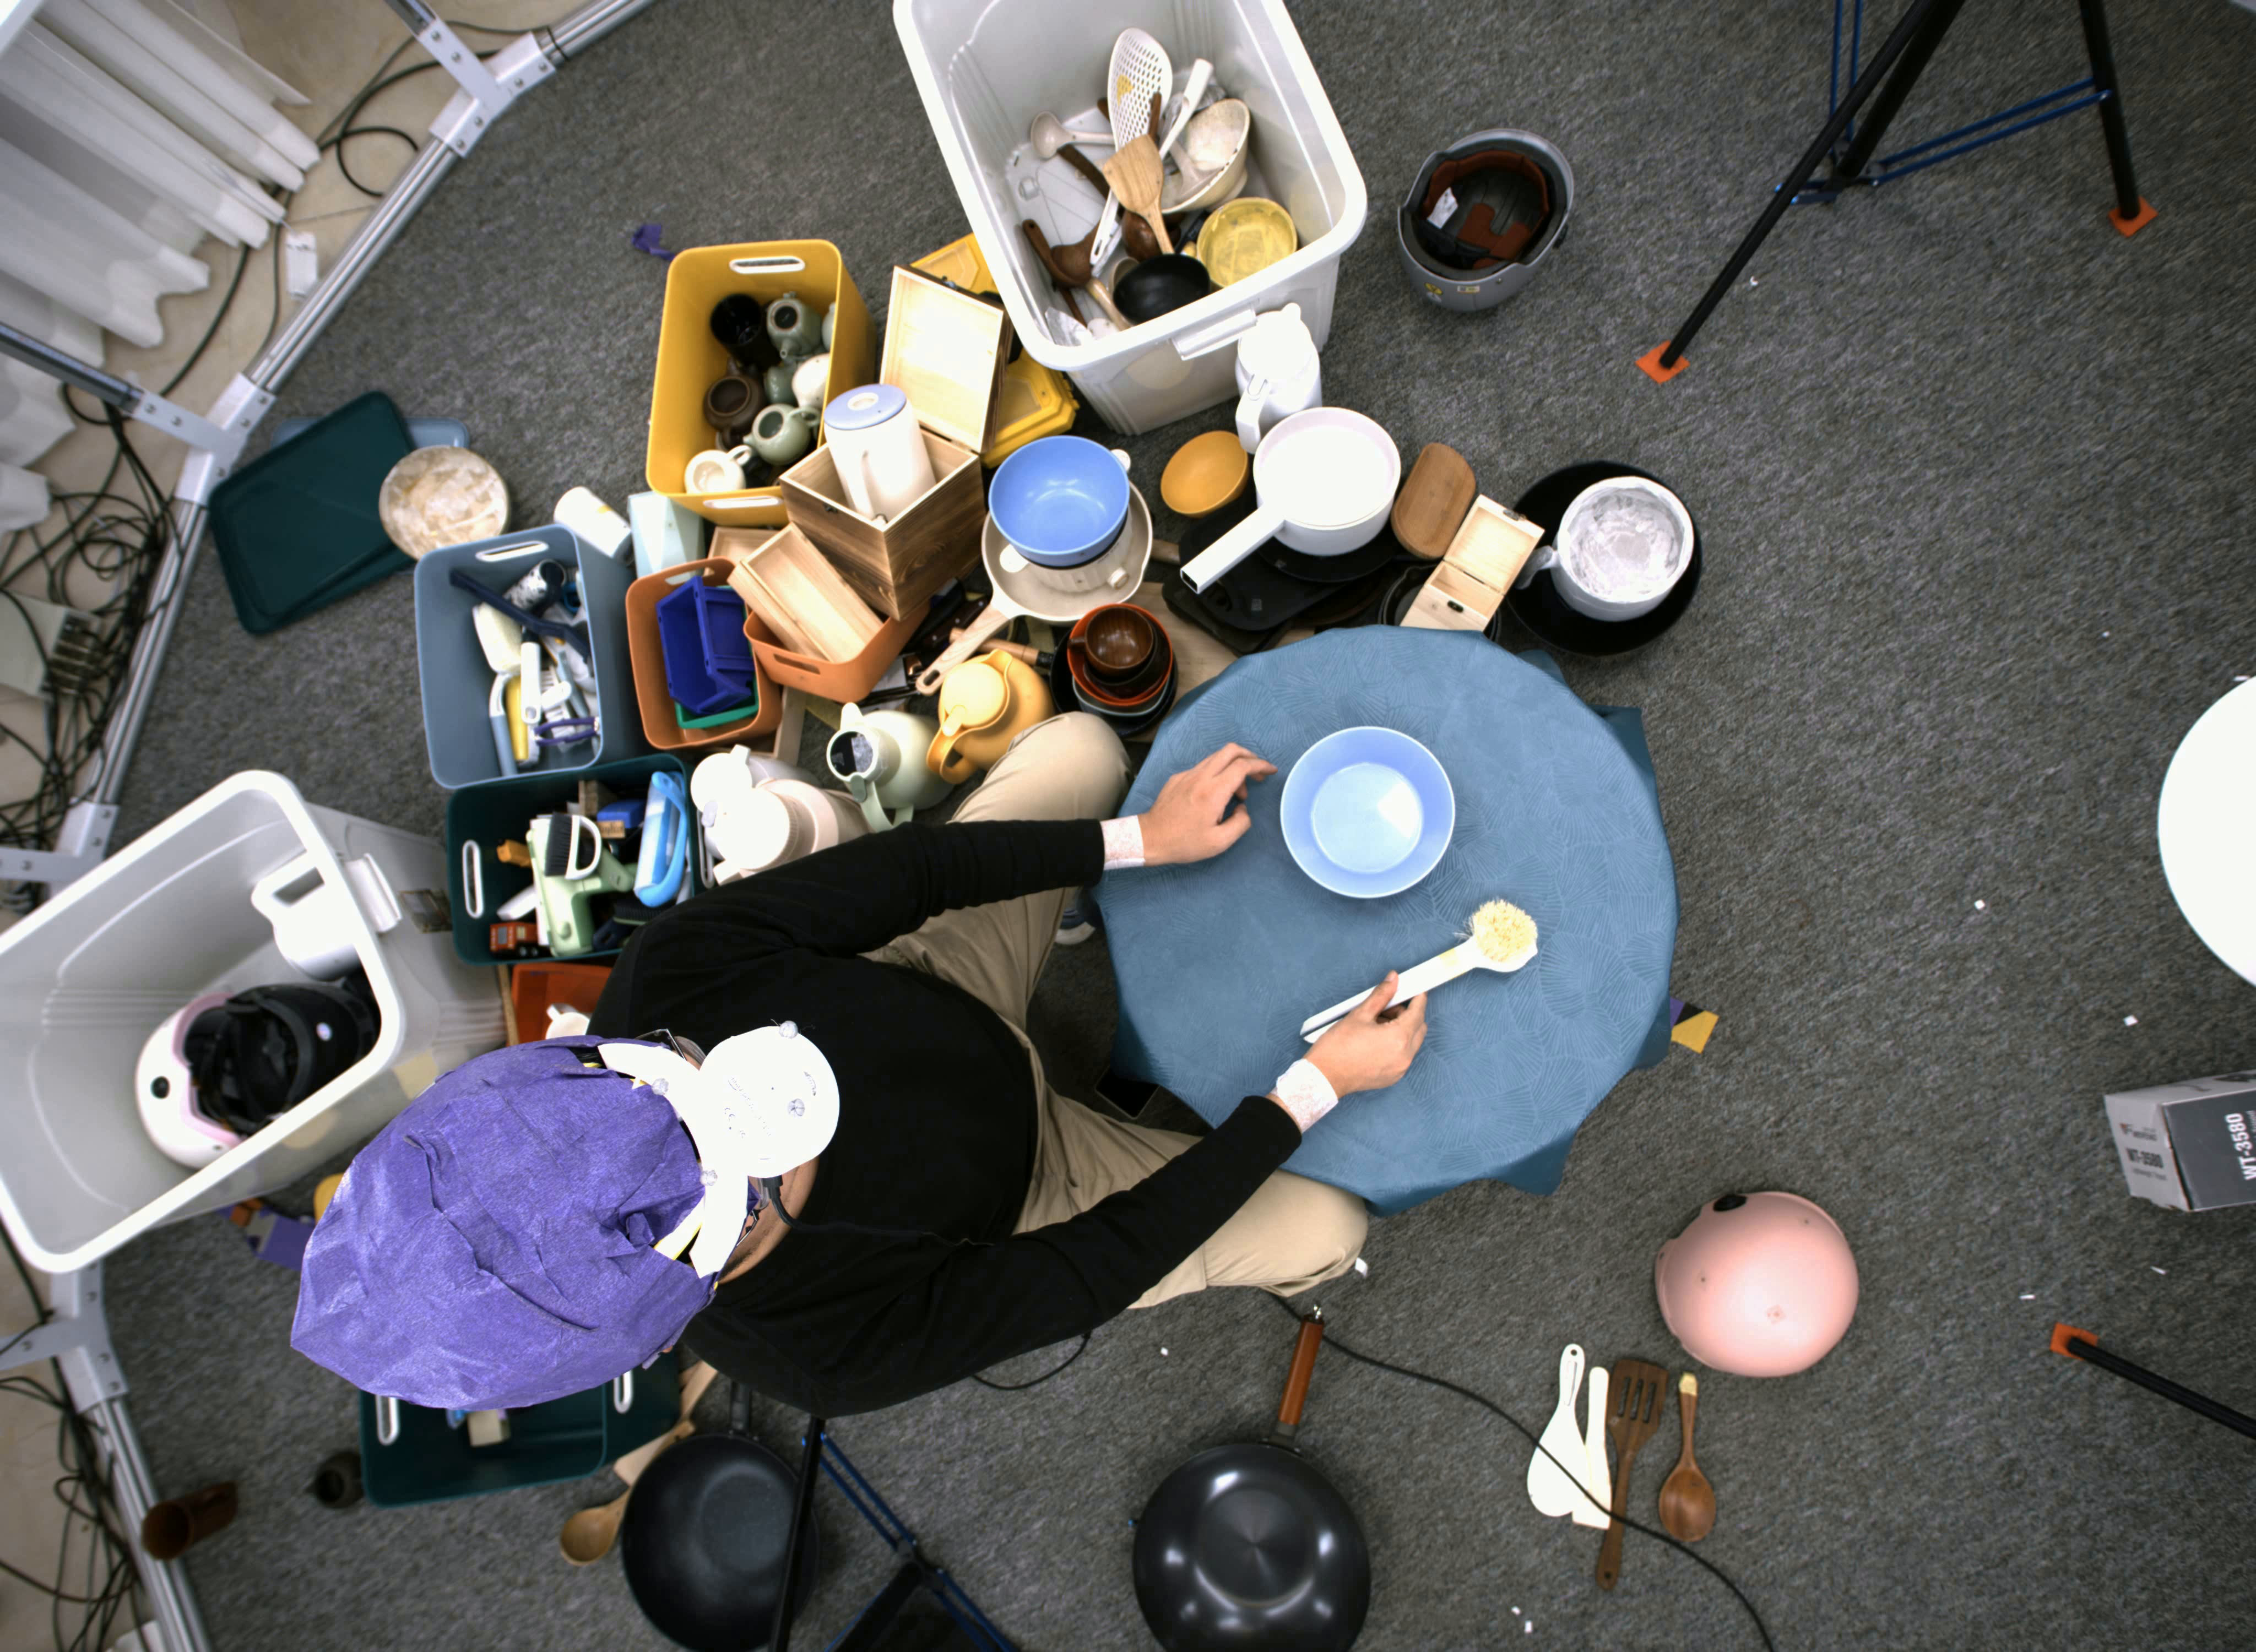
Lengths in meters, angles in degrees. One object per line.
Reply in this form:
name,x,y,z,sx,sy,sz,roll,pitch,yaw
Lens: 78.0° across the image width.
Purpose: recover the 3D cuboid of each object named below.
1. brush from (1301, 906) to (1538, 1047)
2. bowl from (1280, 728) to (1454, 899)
brush,0.294,0.157,1.418,0.268,0.057,0.067,-24,44,11
bowl,0.248,-0.011,1.432,0.177,0.070,0.175,-1,86,11
